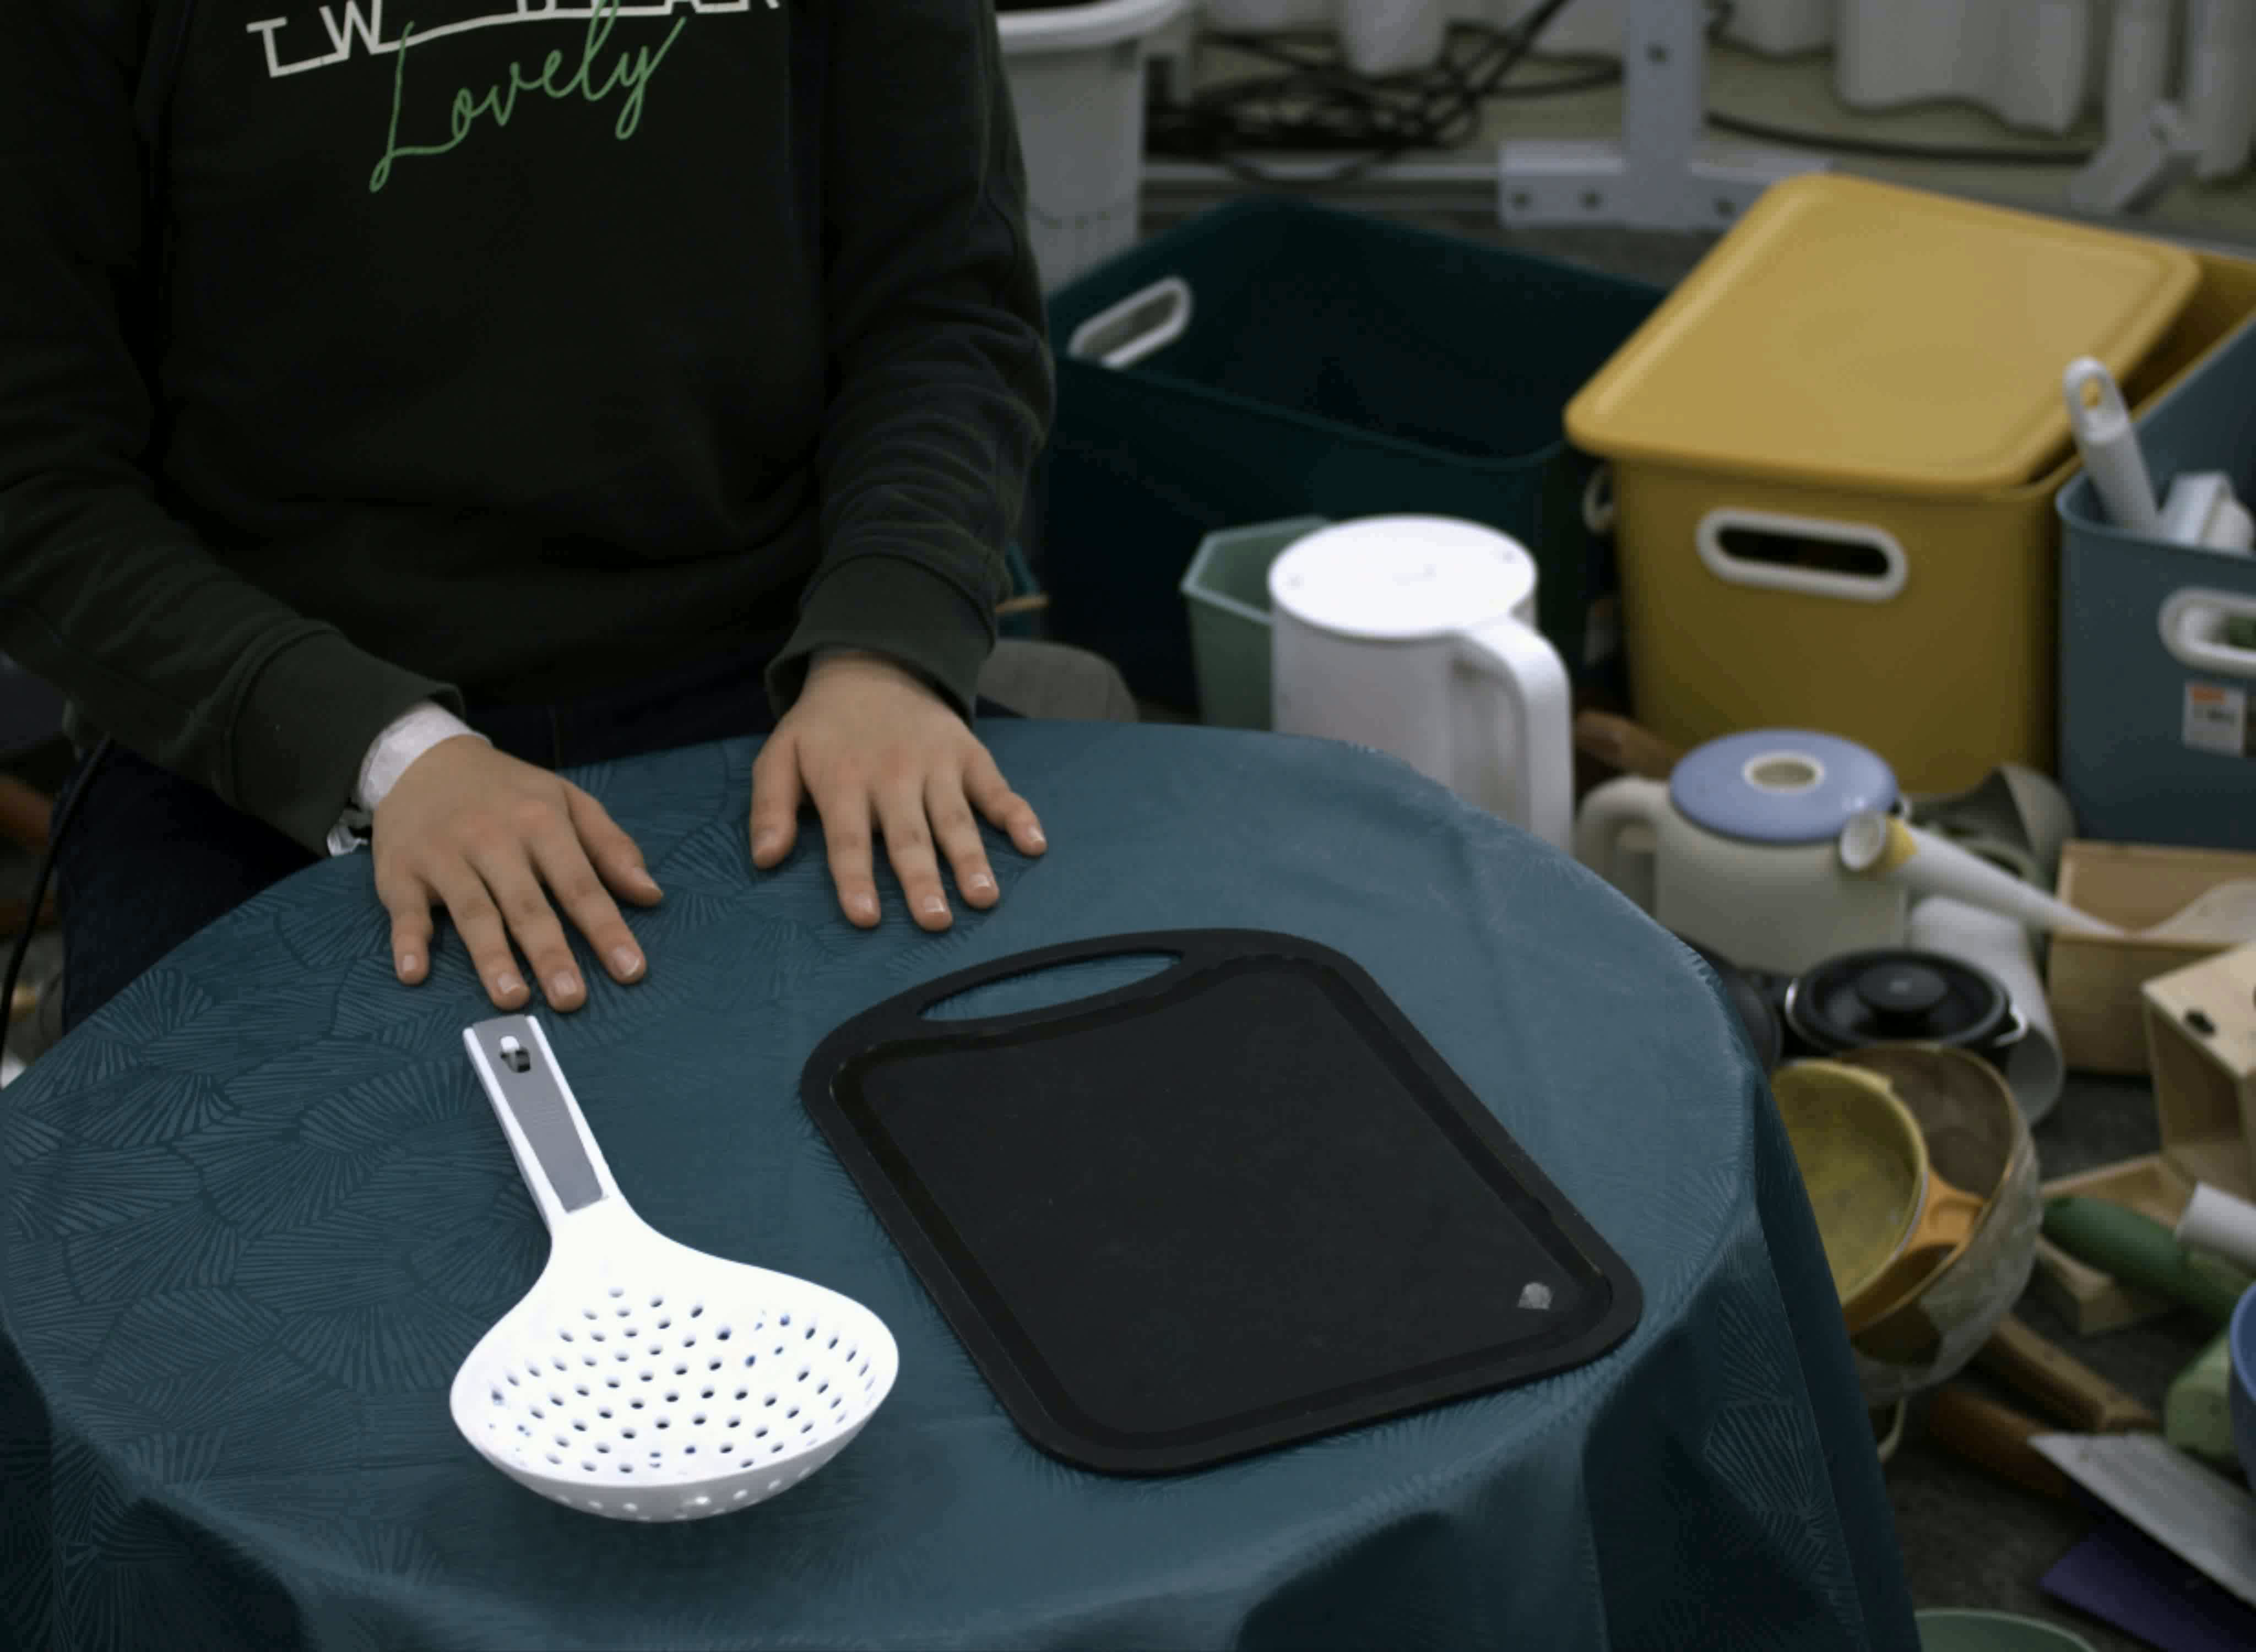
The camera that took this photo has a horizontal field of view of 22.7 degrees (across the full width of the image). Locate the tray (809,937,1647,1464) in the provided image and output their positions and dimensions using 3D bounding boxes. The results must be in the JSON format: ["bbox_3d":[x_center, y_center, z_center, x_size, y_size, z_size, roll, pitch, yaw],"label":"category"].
[{"bbox_3d":[0.023,0.114,1.866,0.211,0.009,0.328,-12,28,-17],"label":"tray"}]

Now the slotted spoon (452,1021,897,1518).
[{"bbox_3d":[-0.169,0.136,1.802,0.136,0.045,0.353,-8,27,-15],"label":"slotted spoon"}]
